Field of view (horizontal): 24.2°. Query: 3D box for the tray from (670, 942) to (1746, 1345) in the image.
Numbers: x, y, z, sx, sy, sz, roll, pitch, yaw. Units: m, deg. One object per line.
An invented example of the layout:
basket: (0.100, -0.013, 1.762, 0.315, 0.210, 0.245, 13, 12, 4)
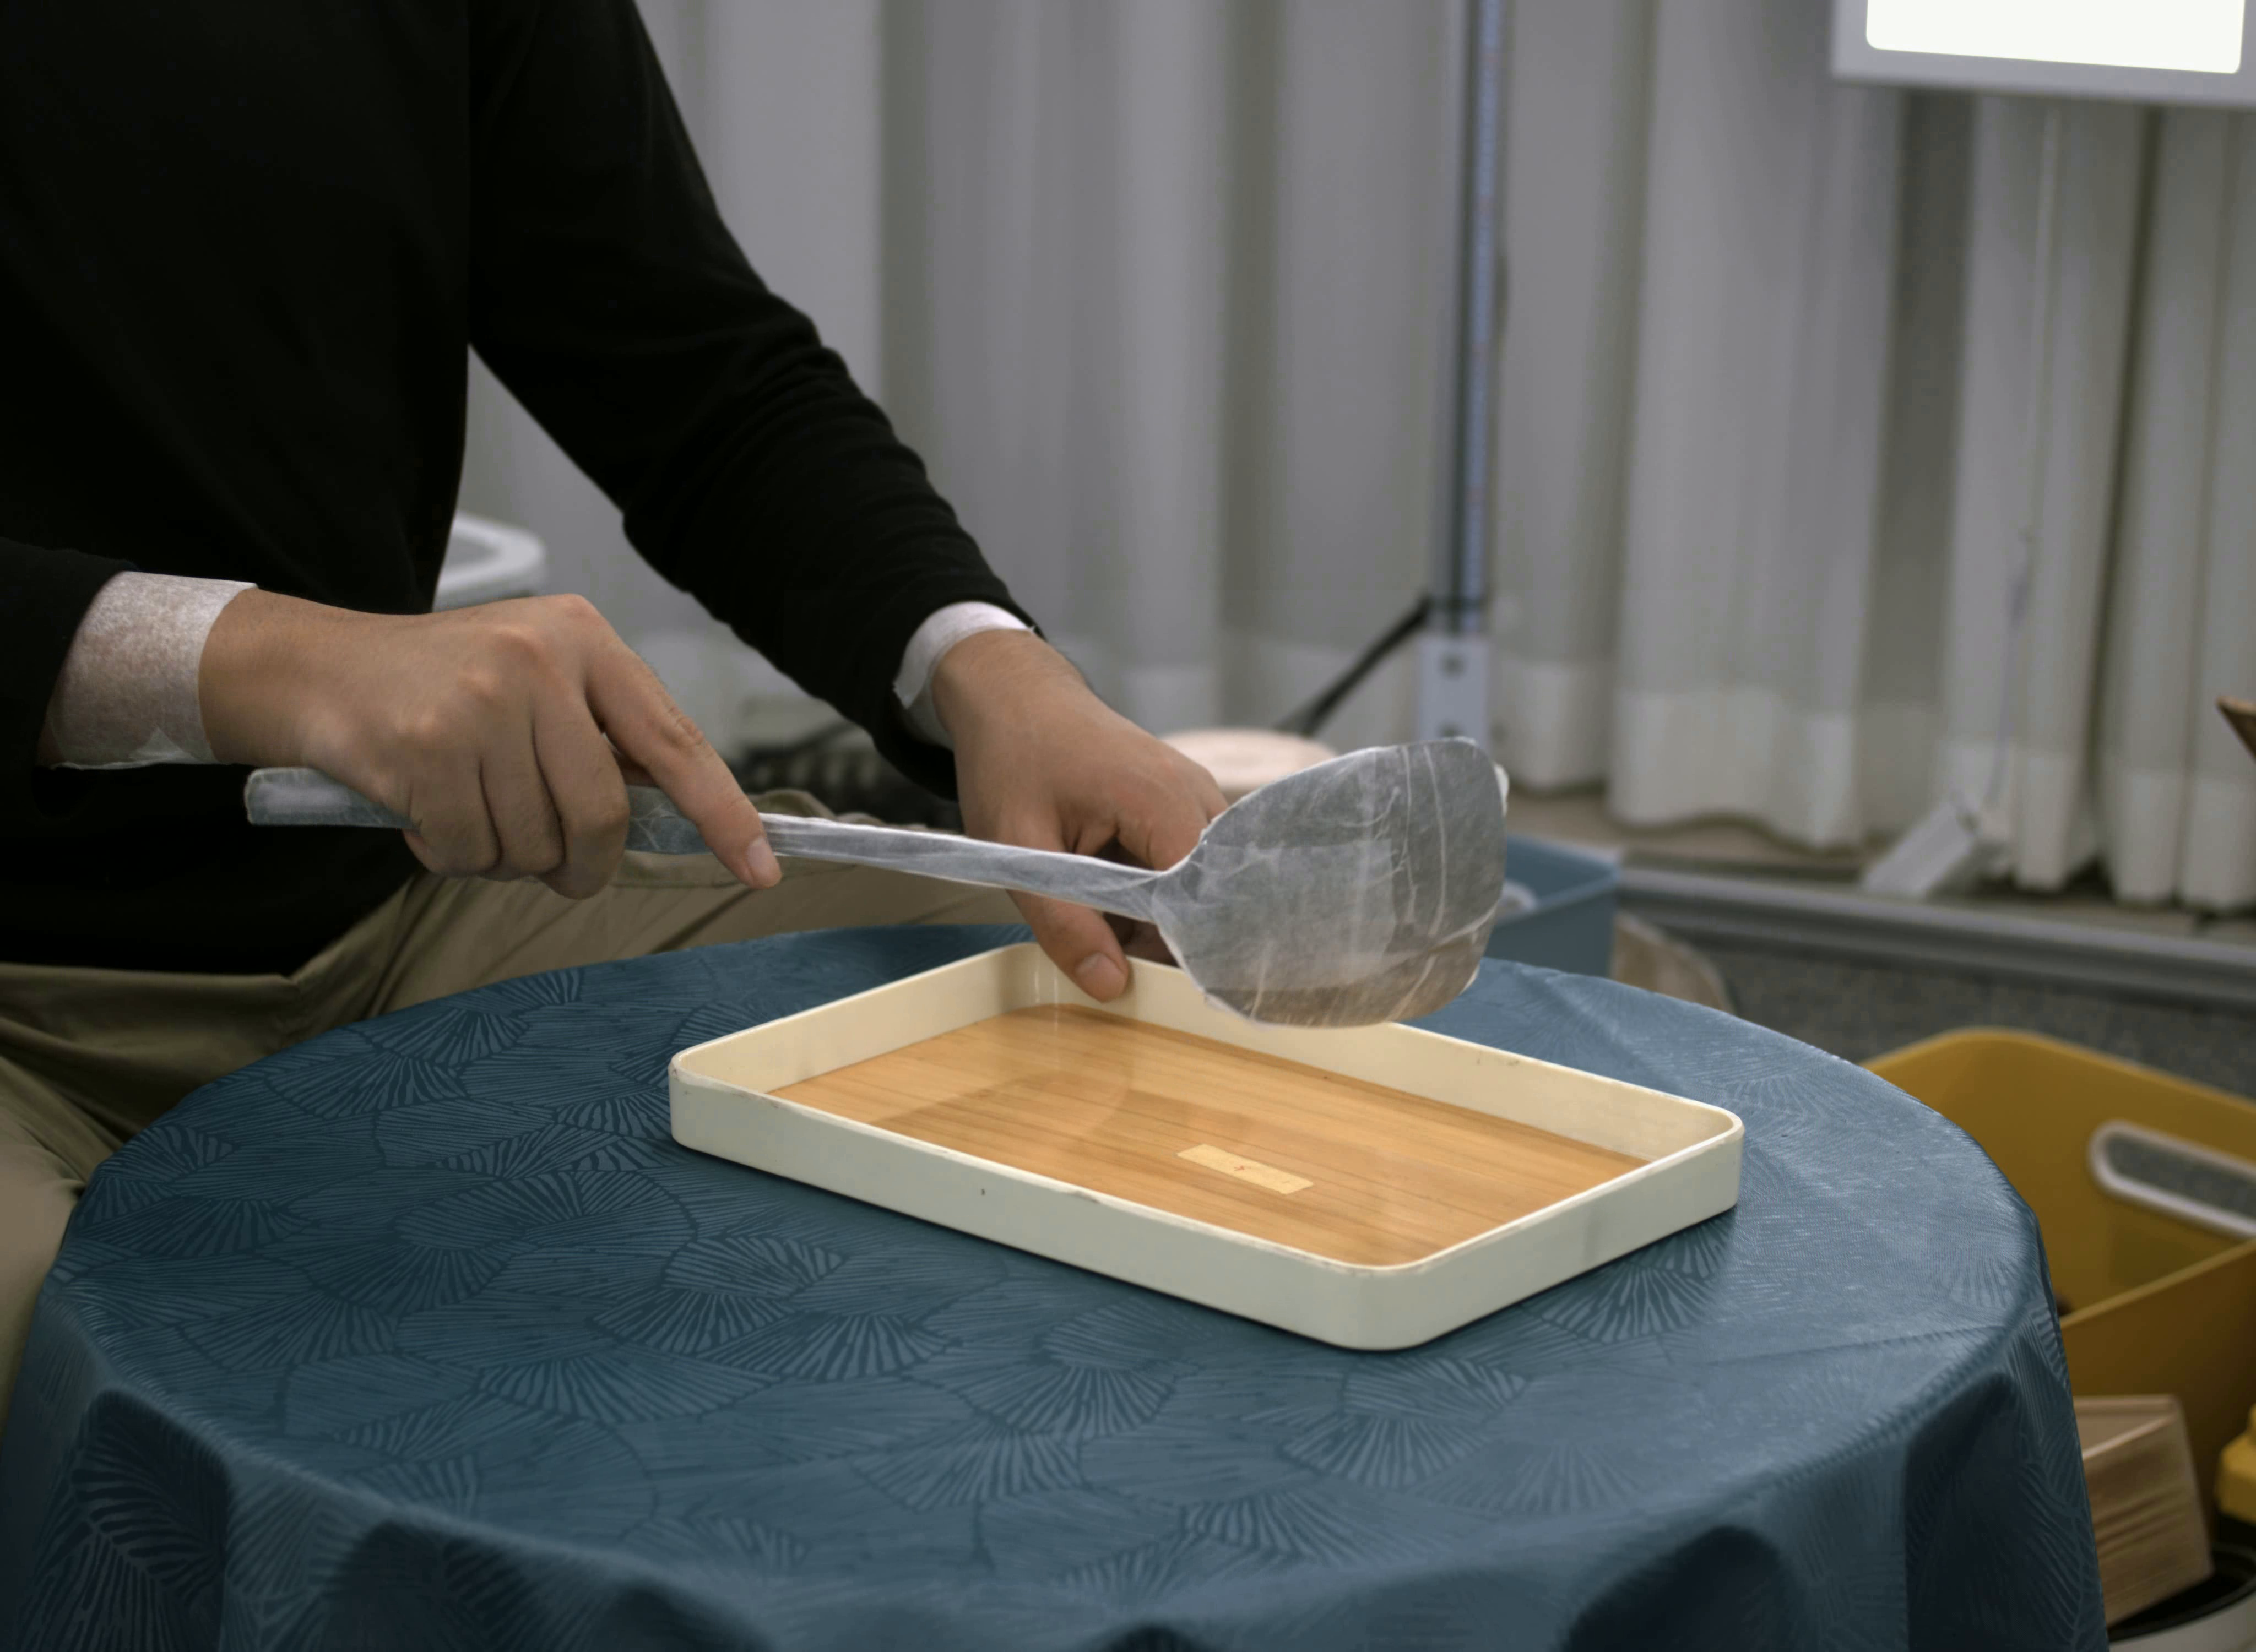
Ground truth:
tray: (0.022, 0.094, 1.637, 0.296, 0.027, 0.192, 13, 20, 39)

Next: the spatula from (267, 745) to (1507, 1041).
spatula: (-0.069, 0.006, 1.551, 0.364, 0.099, 0.044, 7, 28, -2)
